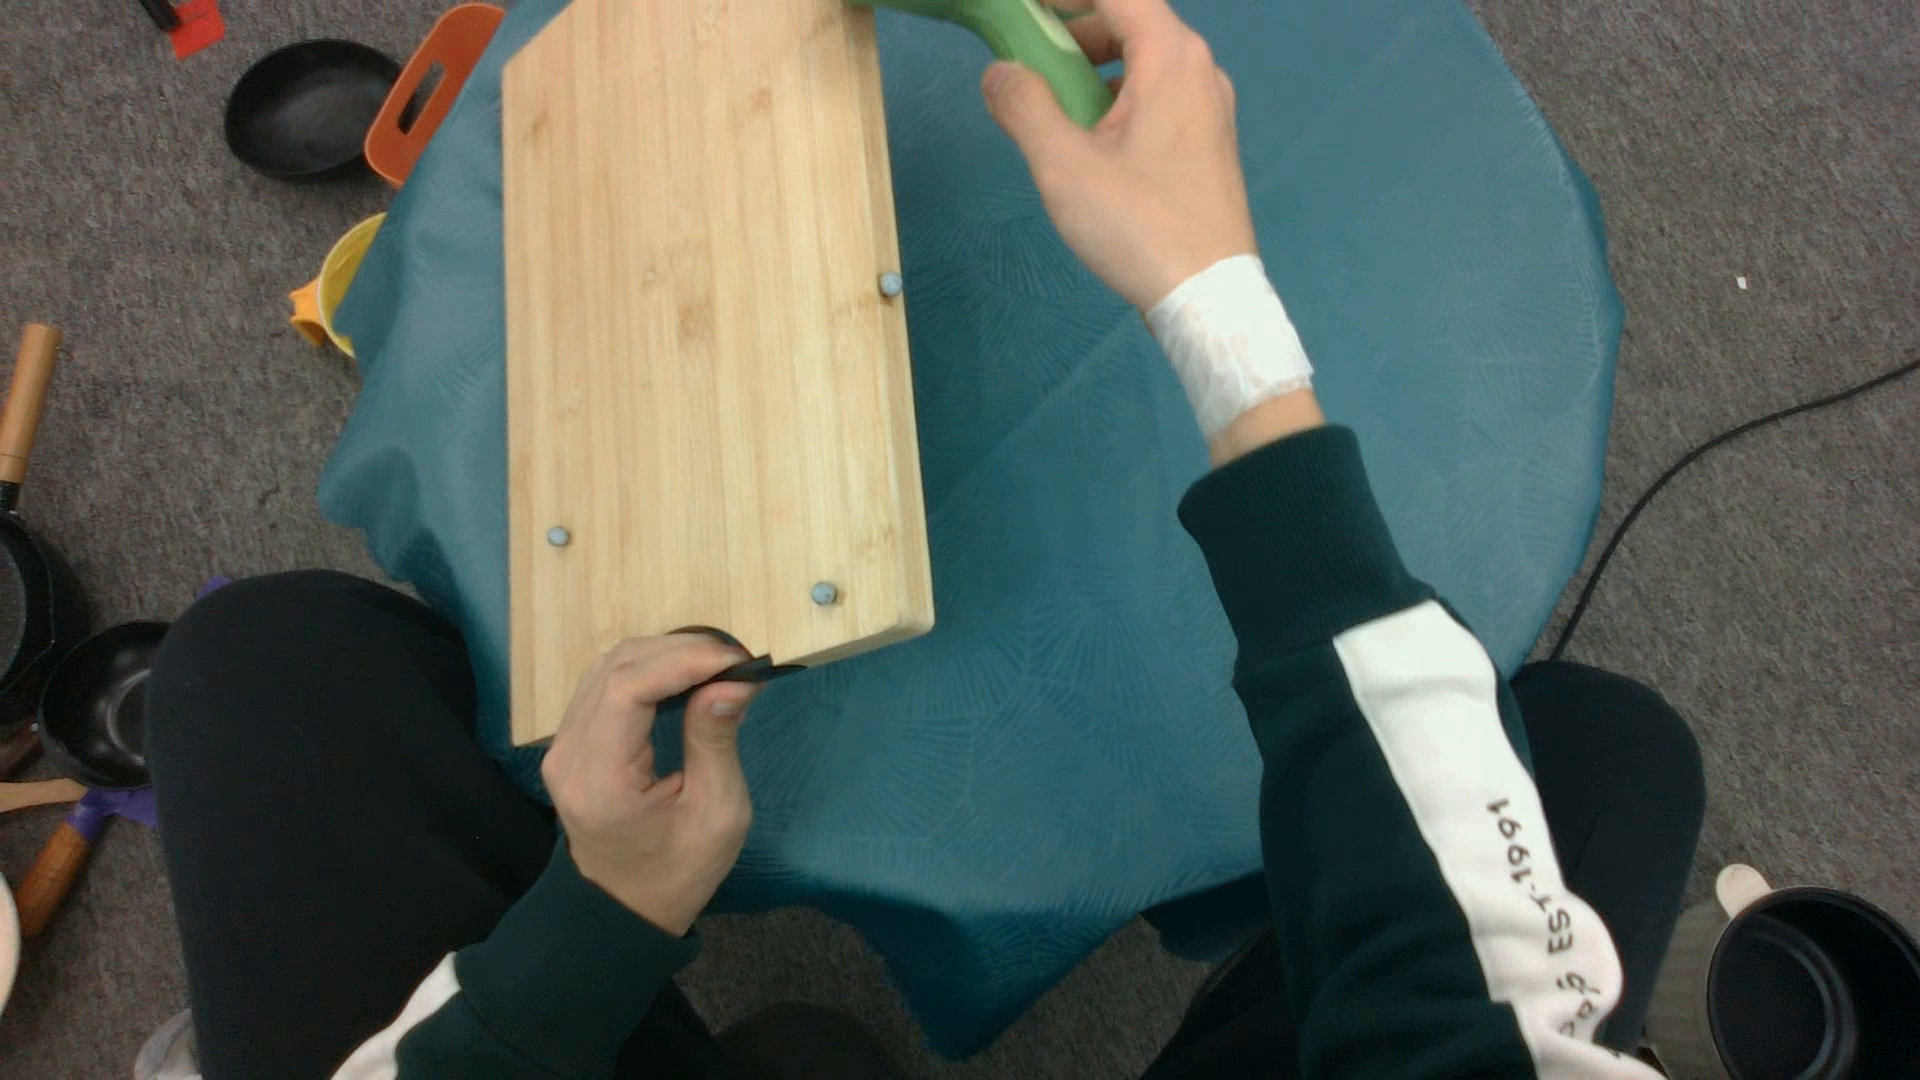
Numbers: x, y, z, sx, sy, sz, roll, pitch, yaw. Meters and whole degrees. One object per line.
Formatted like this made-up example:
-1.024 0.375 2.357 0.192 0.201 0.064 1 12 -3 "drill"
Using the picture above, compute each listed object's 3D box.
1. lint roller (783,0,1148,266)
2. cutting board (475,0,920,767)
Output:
0.029 -0.193 0.516 0.199 0.082 0.183 -16 64 -50 "lint roller"
-0.127 -0.099 0.573 0.023 0.249 0.349 10 65 -47 "cutting board"
